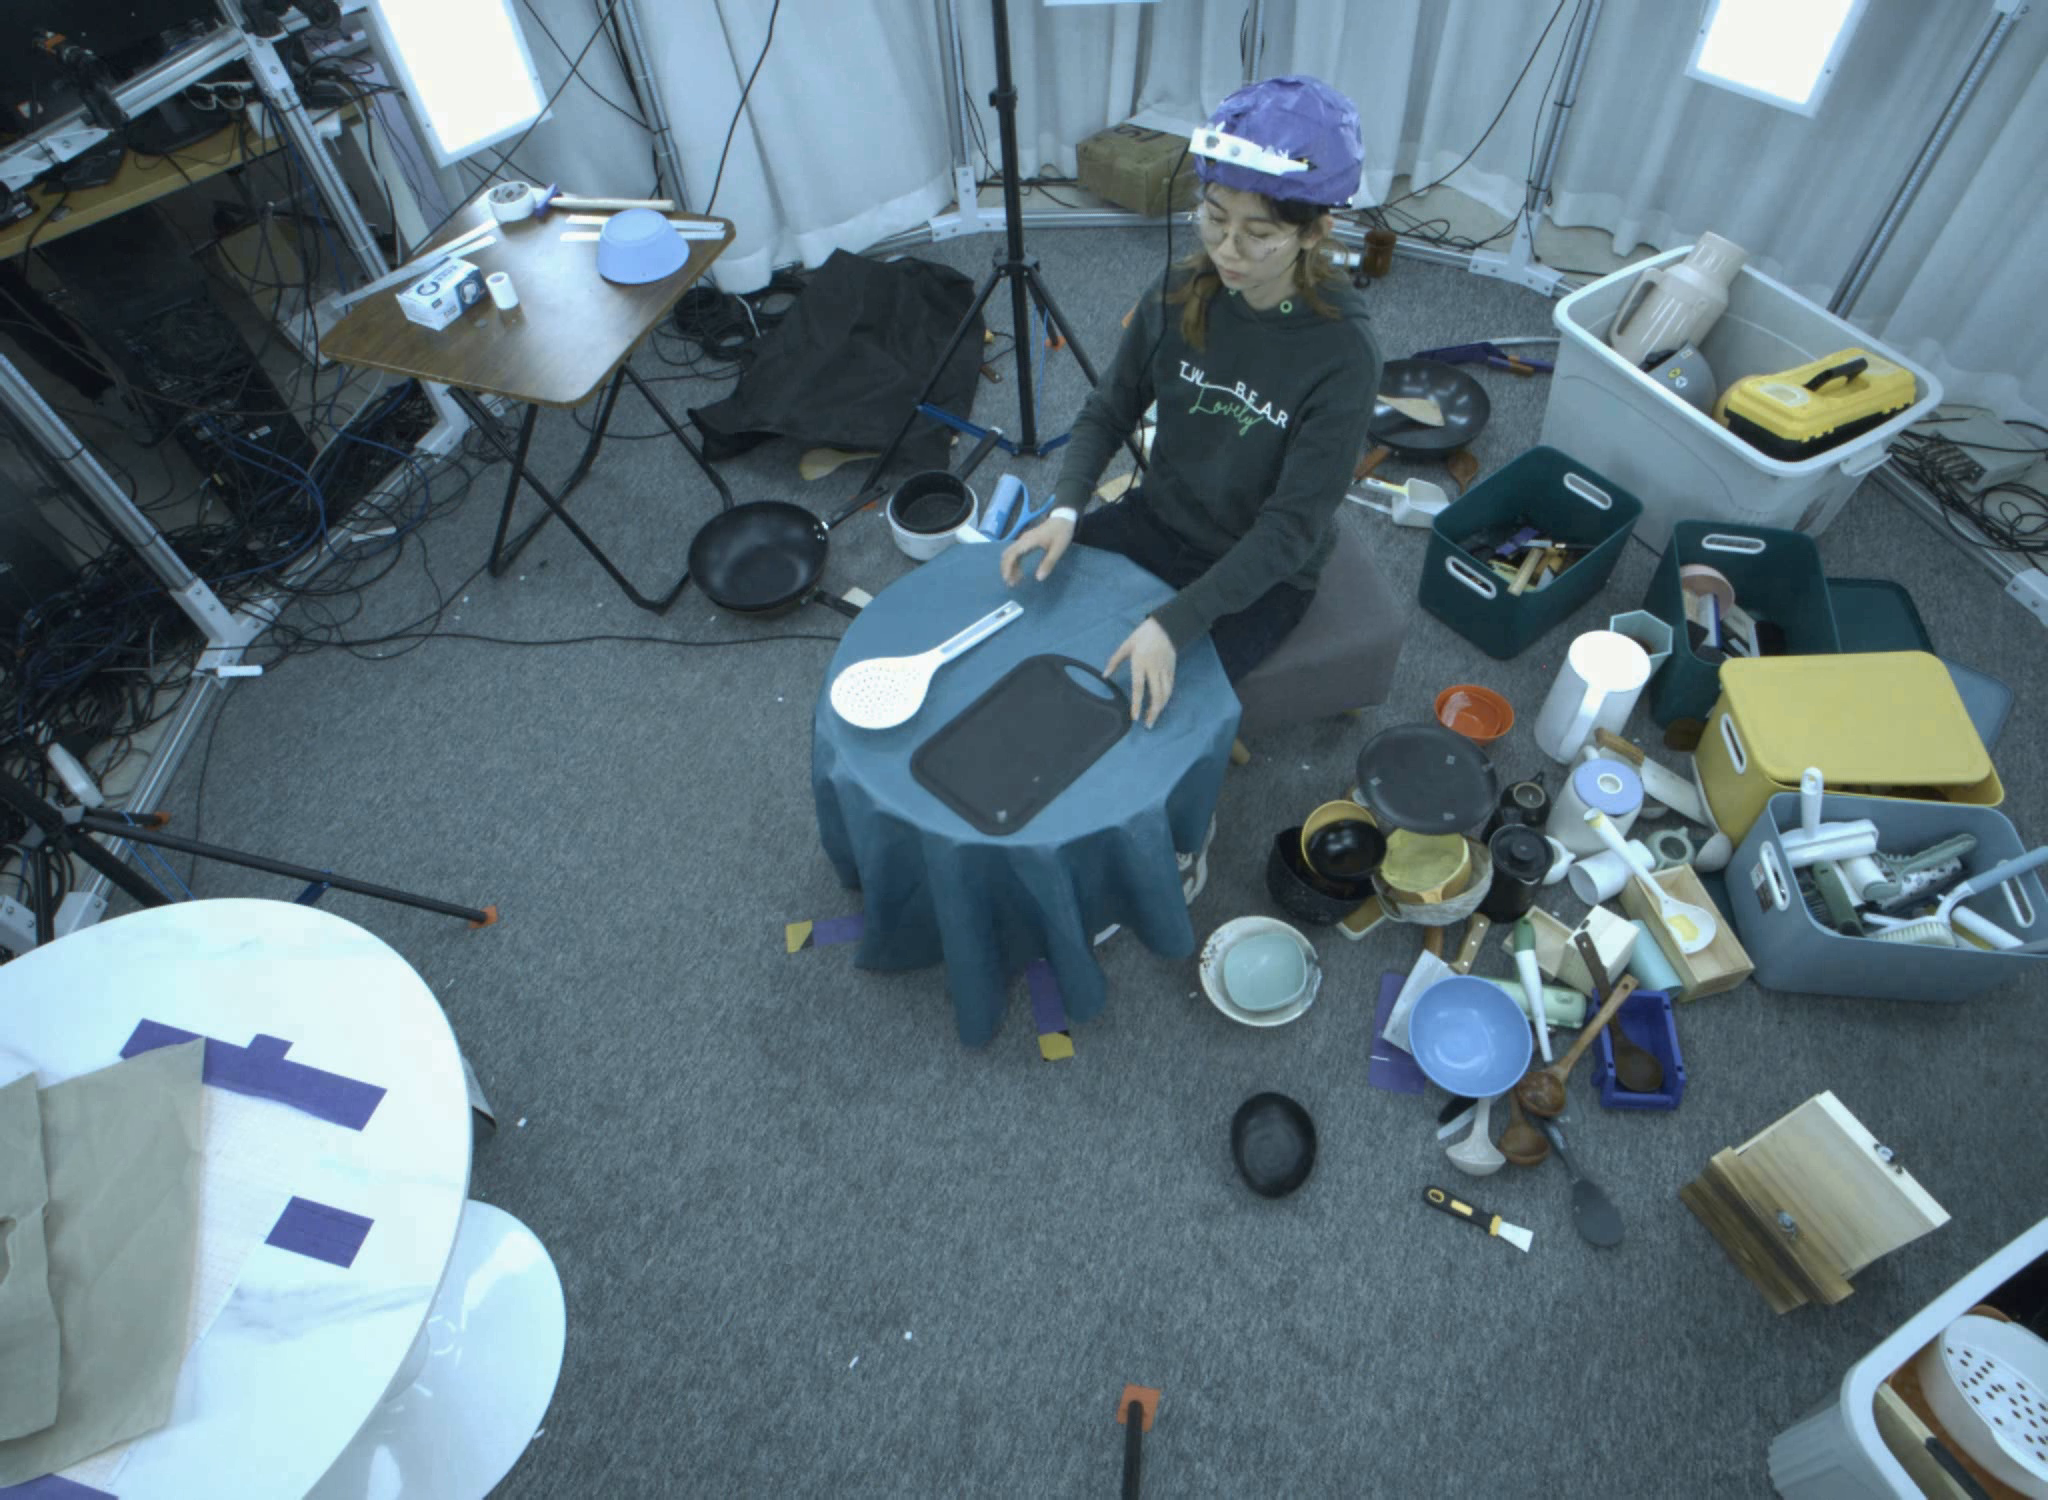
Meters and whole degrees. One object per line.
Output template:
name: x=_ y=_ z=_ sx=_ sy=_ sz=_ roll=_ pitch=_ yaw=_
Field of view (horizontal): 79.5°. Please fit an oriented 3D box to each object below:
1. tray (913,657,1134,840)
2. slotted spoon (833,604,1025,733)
tray: x=0.006 y=-0.016 z=1.804 sx=0.207 sy=0.010 sz=0.327 roll=38 pitch=63 yaw=24
slotted spoon: x=-0.135 y=-0.132 z=1.867 sx=0.352 sy=0.046 sz=0.134 roll=-38 pitch=64 yaw=-23
